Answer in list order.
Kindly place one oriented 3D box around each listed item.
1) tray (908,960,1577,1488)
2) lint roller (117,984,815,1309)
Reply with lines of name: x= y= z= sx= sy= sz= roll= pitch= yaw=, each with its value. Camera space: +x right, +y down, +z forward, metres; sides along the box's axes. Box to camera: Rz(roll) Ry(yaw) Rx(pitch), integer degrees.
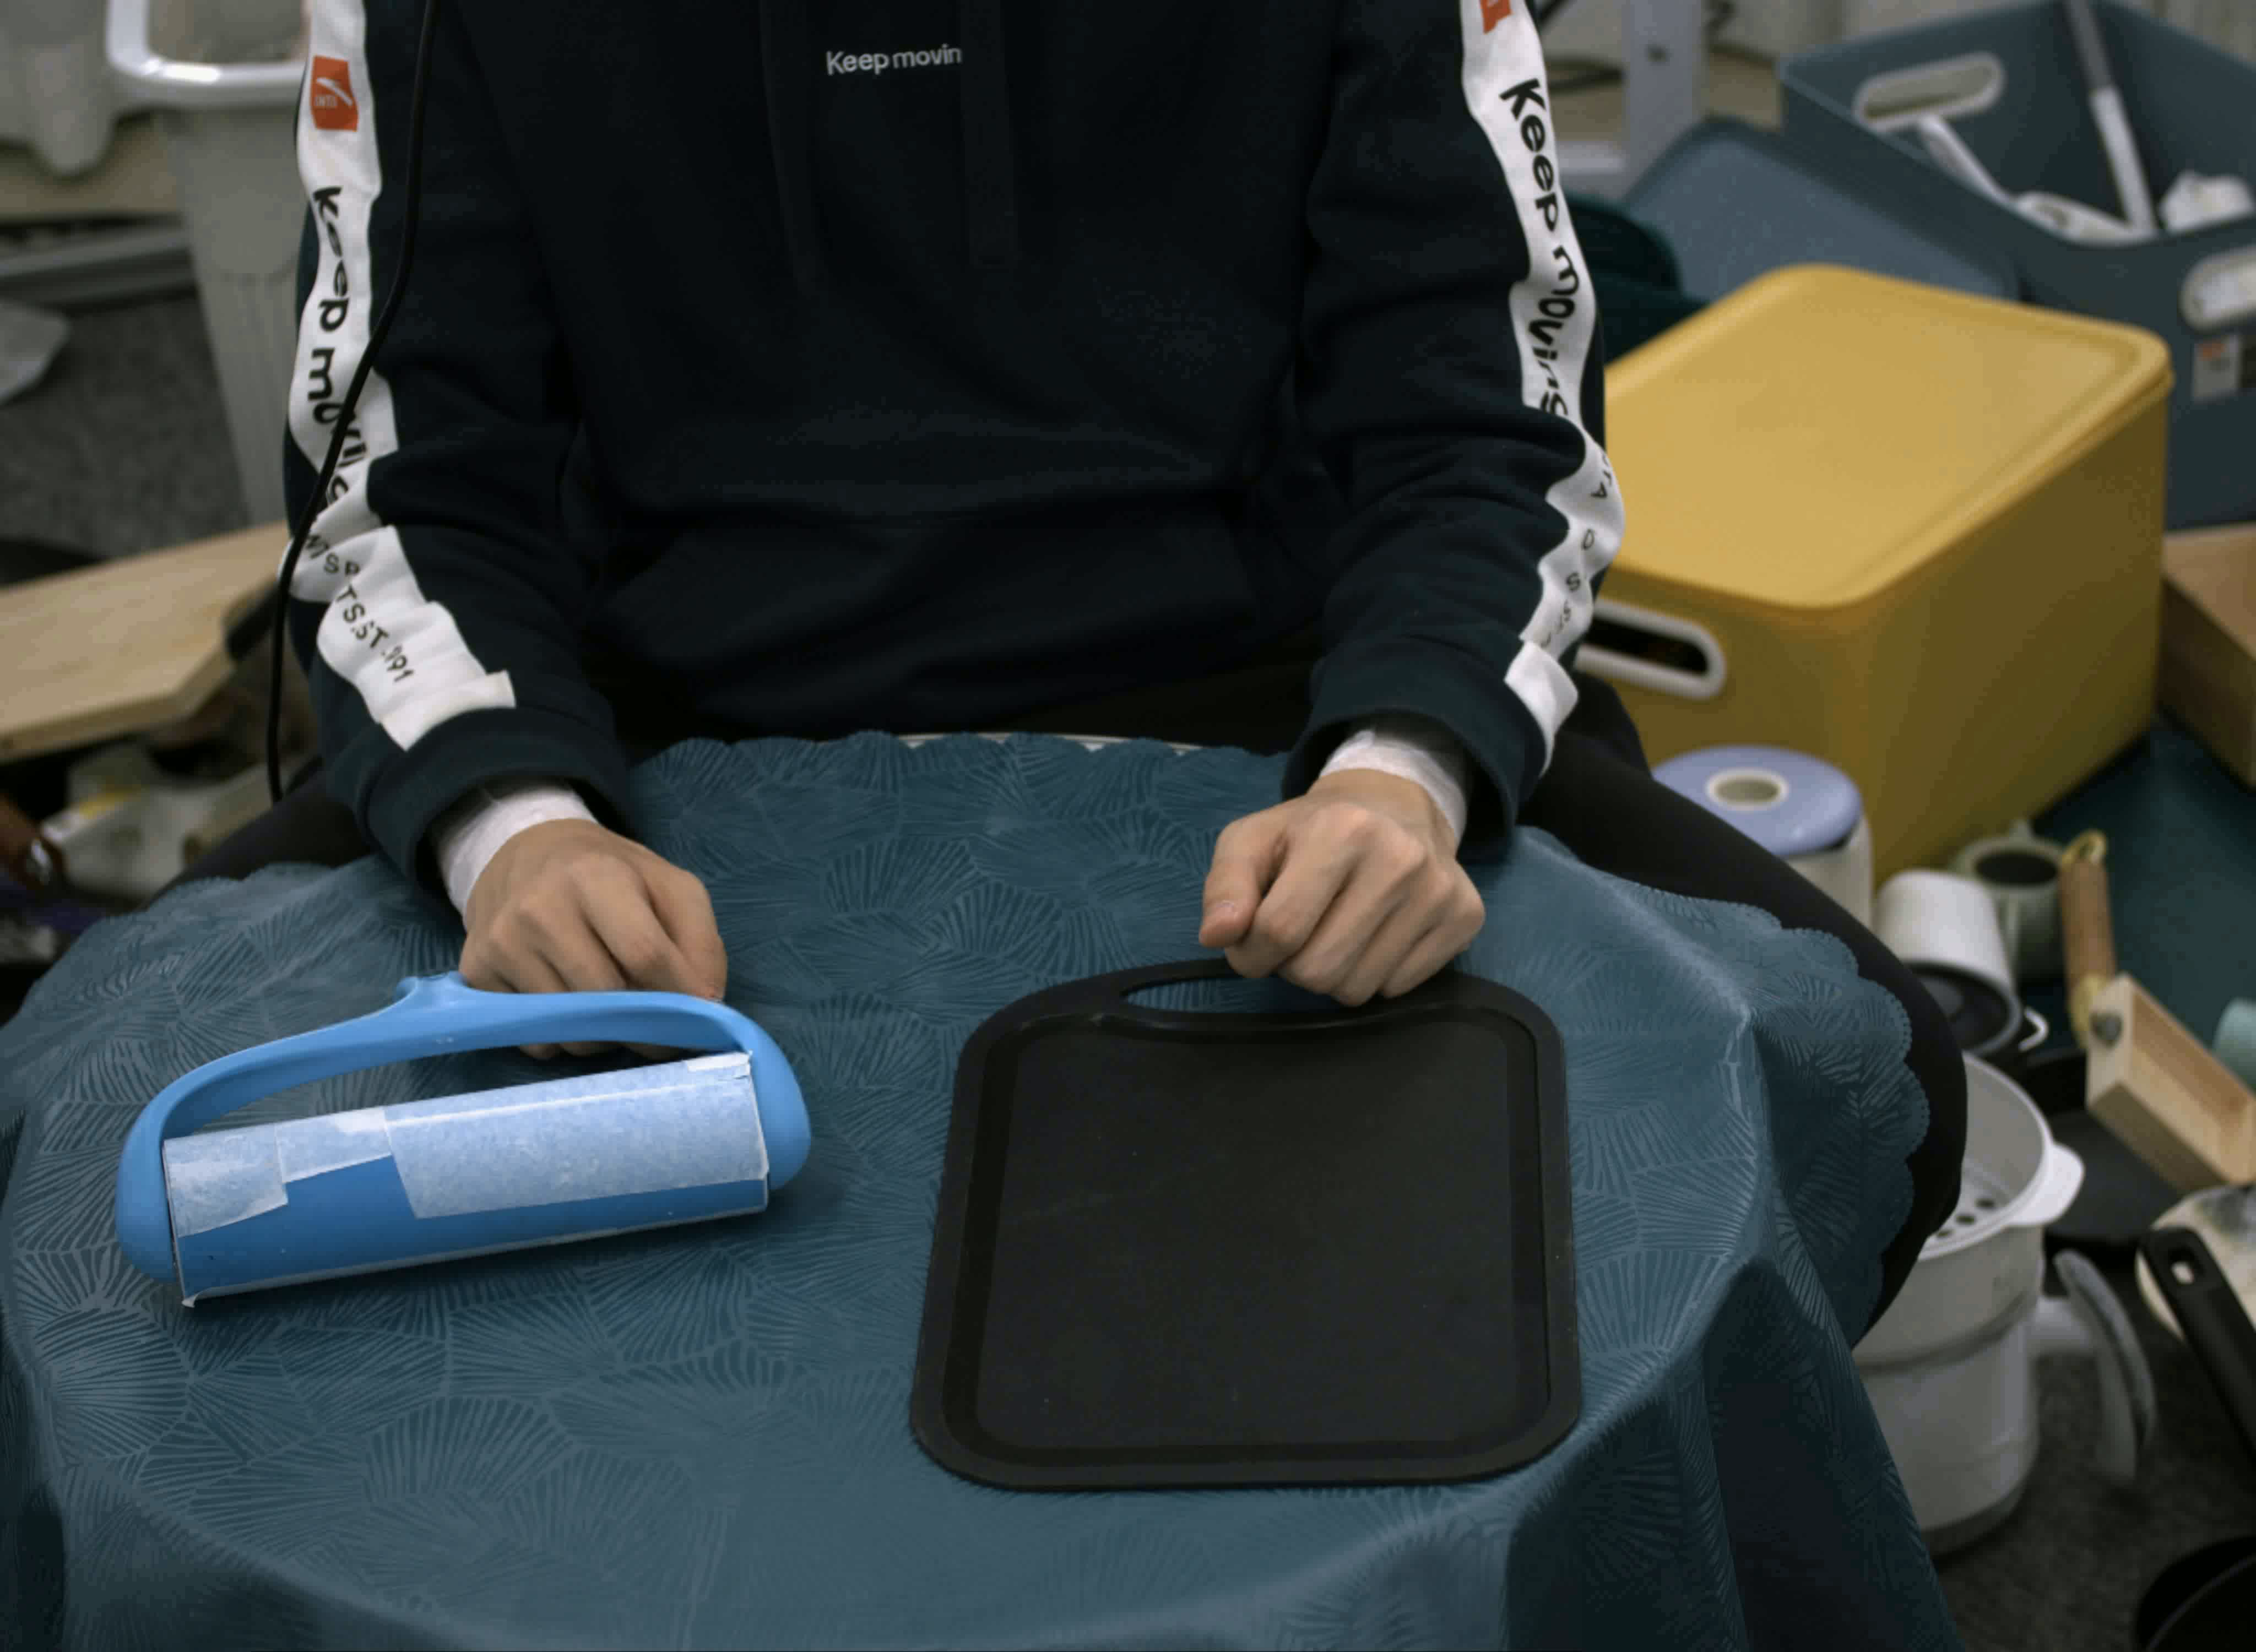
tray: x=0.041 y=0.123 z=1.846 sx=0.210 sy=0.009 sz=0.330 roll=-1 pitch=27 yaw=4
lint roller: x=-0.230 y=0.088 z=1.886 sx=0.229 sy=0.067 sz=0.182 roll=-11 pitch=29 yaw=-12
